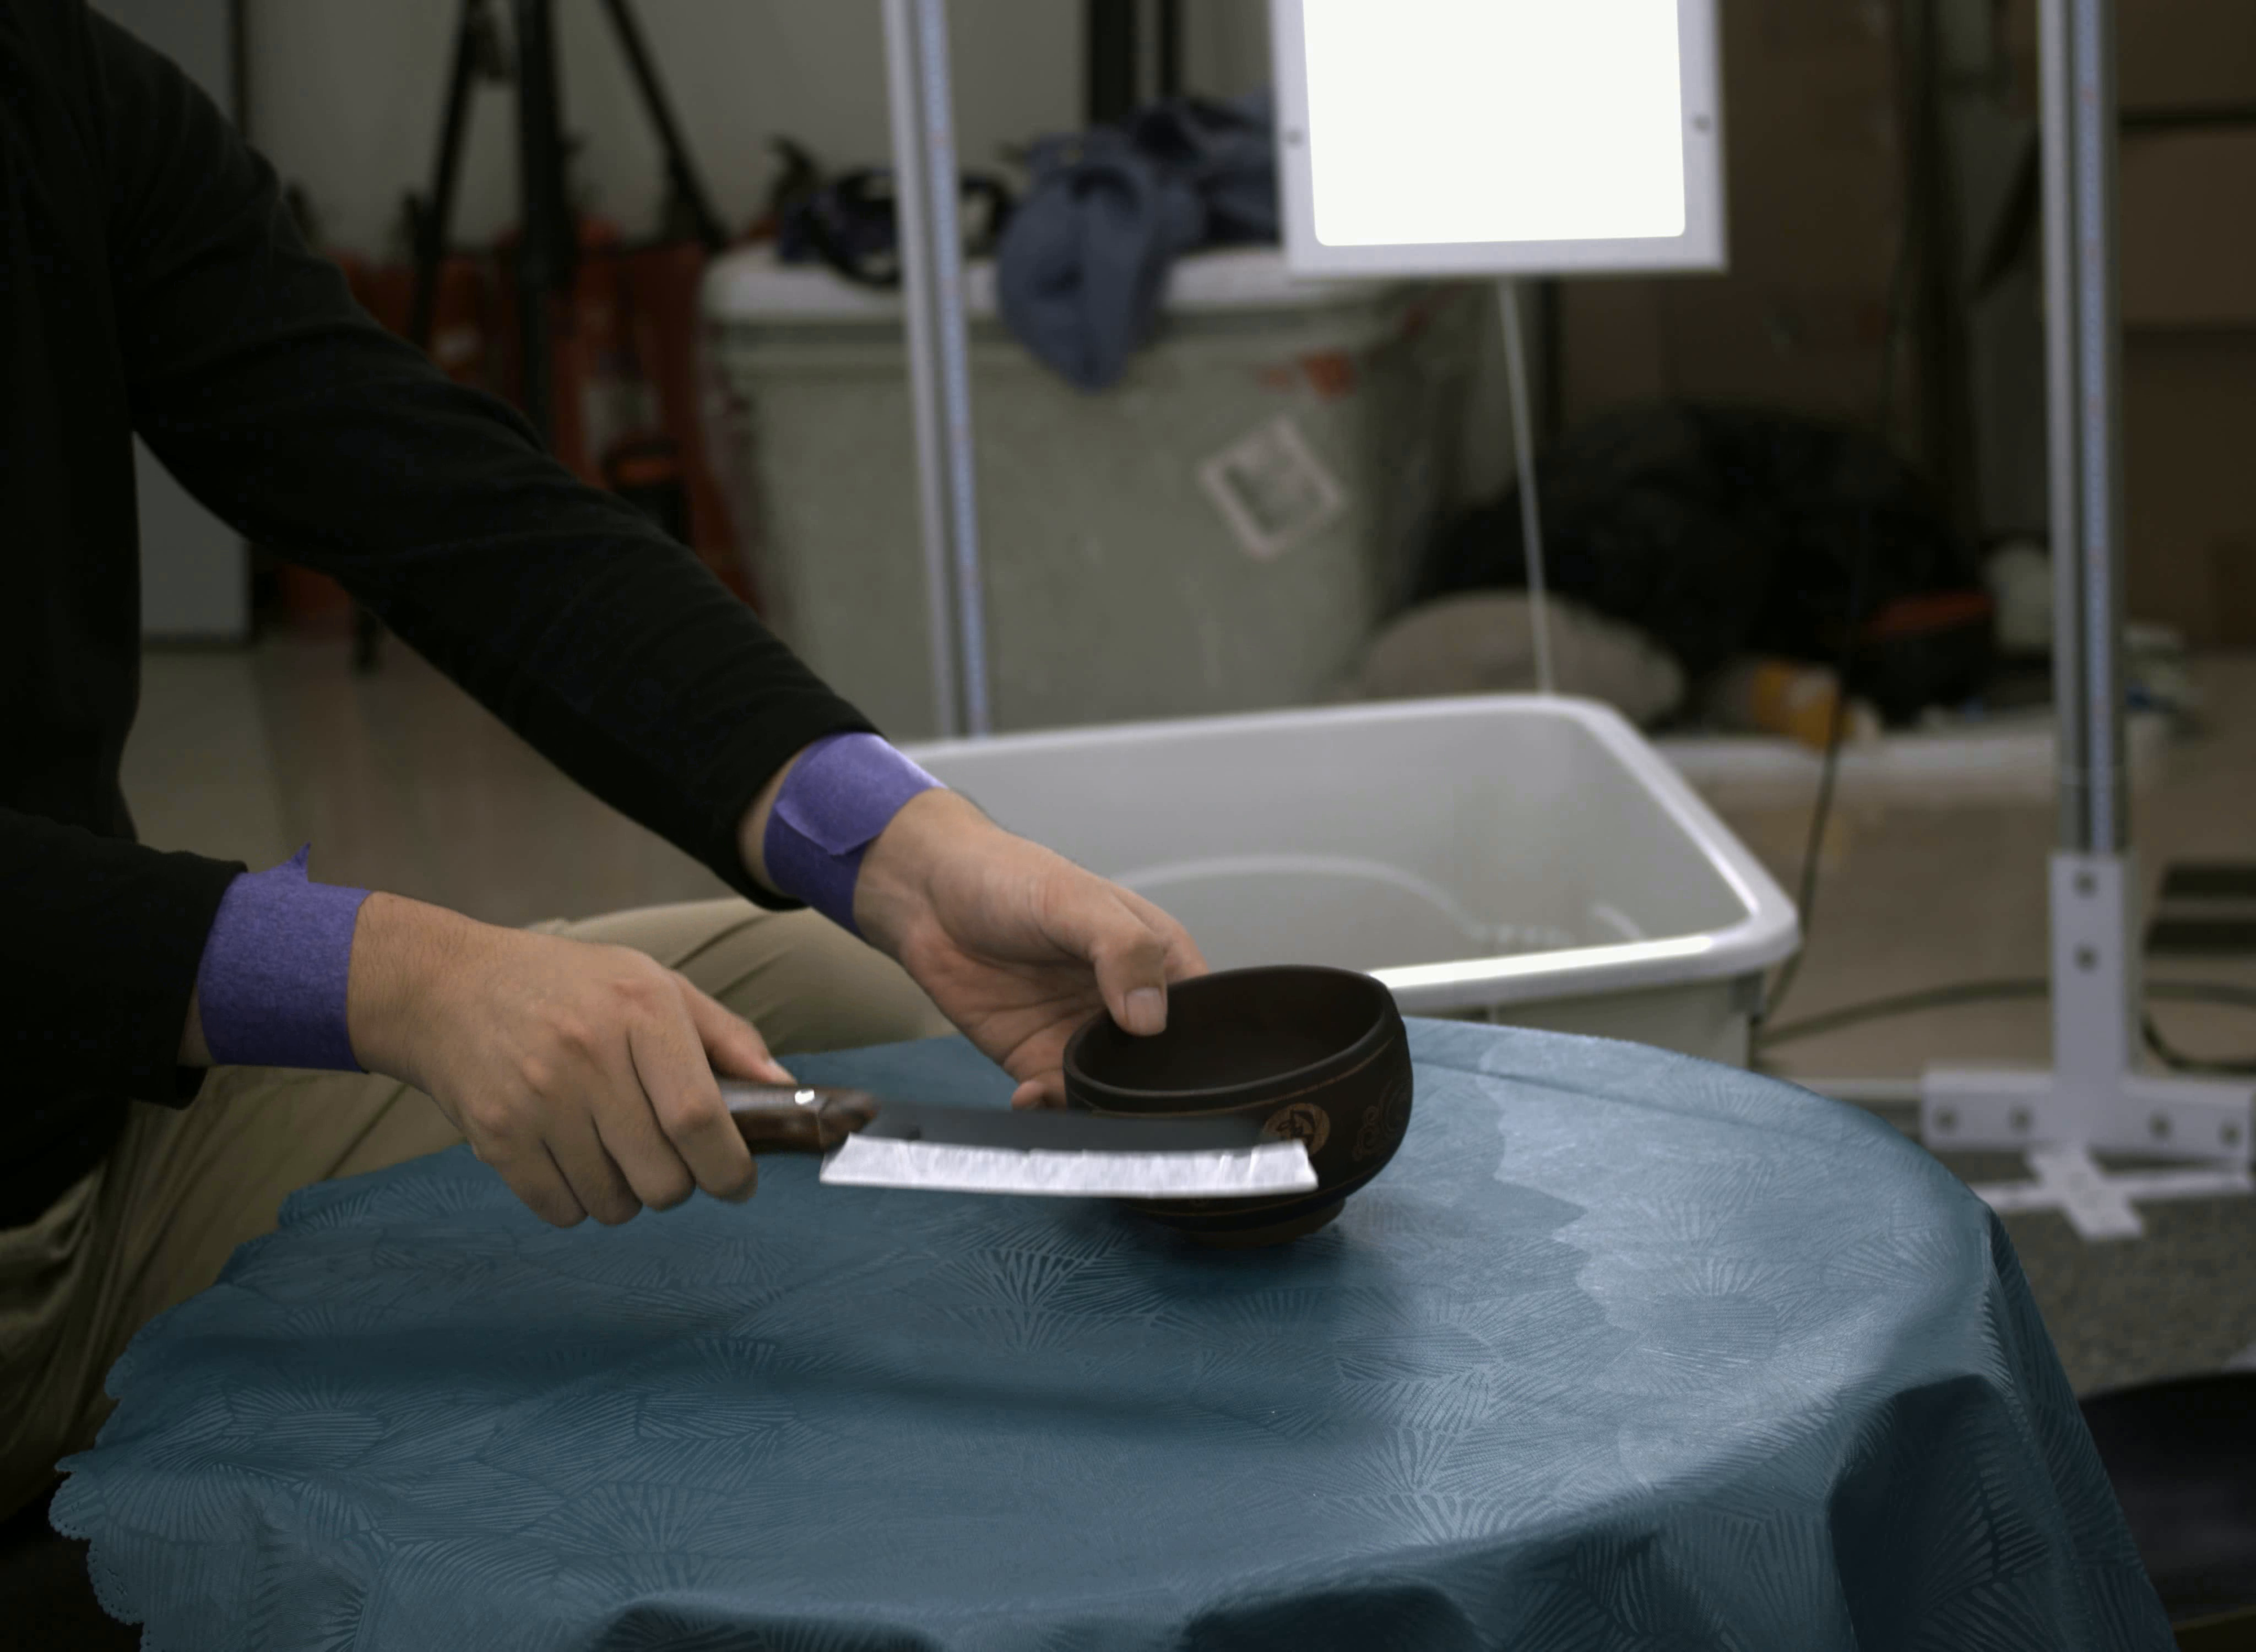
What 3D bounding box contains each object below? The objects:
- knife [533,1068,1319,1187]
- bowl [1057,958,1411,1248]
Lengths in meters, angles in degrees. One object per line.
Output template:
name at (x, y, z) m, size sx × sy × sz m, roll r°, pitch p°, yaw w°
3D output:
knife at (-0.068, 0.097, 1.742) m, size 0.294 × 0.020 × 0.049 m, roll 2°, pitch 36°, yaw 30°
bowl at (0.039, 0.098, 1.840) m, size 0.118 × 0.070 × 0.118 m, roll -12°, pitch 18°, yaw 3°
